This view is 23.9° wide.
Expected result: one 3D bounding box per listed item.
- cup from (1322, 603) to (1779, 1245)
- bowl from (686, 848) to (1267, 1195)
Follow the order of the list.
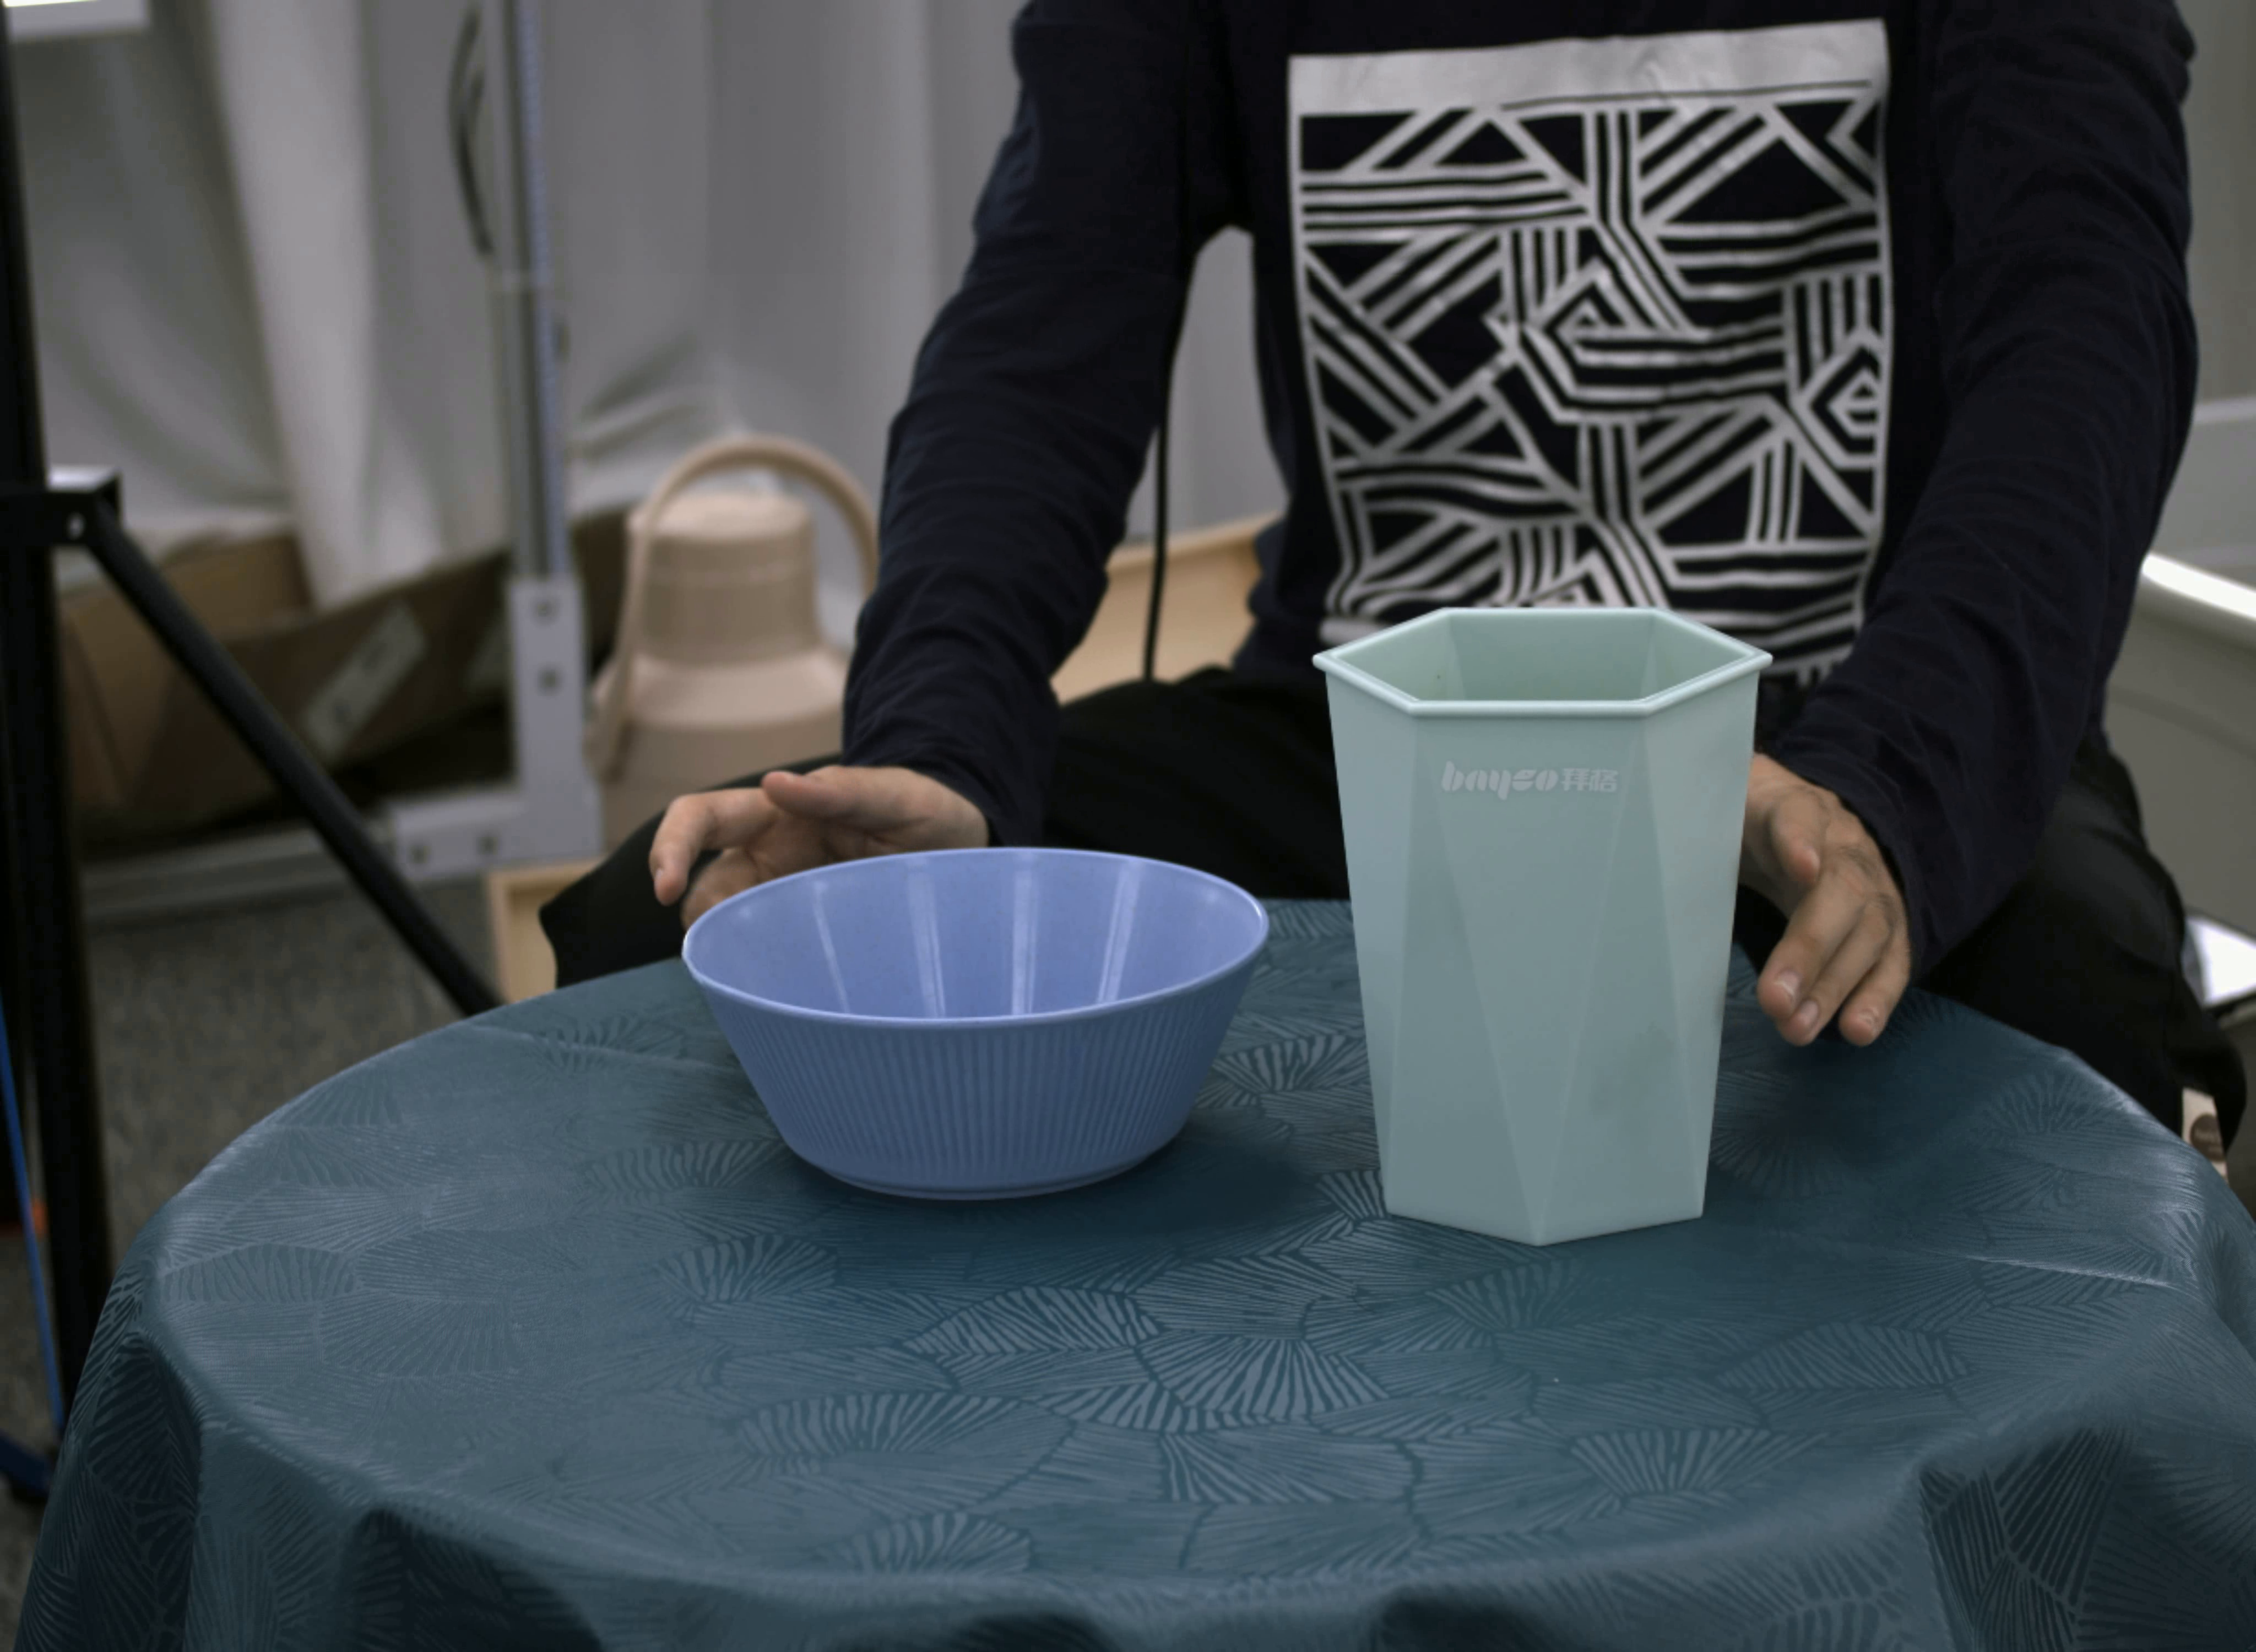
[{"bbox_3d":[0.120,0.028,1.528,0.131,0.163,0.115,1,13,6],"label":"cup"},{"bbox_3d":[-0.045,0.061,1.604,0.175,0.070,0.177,-2,15,-1],"label":"bowl"}]
